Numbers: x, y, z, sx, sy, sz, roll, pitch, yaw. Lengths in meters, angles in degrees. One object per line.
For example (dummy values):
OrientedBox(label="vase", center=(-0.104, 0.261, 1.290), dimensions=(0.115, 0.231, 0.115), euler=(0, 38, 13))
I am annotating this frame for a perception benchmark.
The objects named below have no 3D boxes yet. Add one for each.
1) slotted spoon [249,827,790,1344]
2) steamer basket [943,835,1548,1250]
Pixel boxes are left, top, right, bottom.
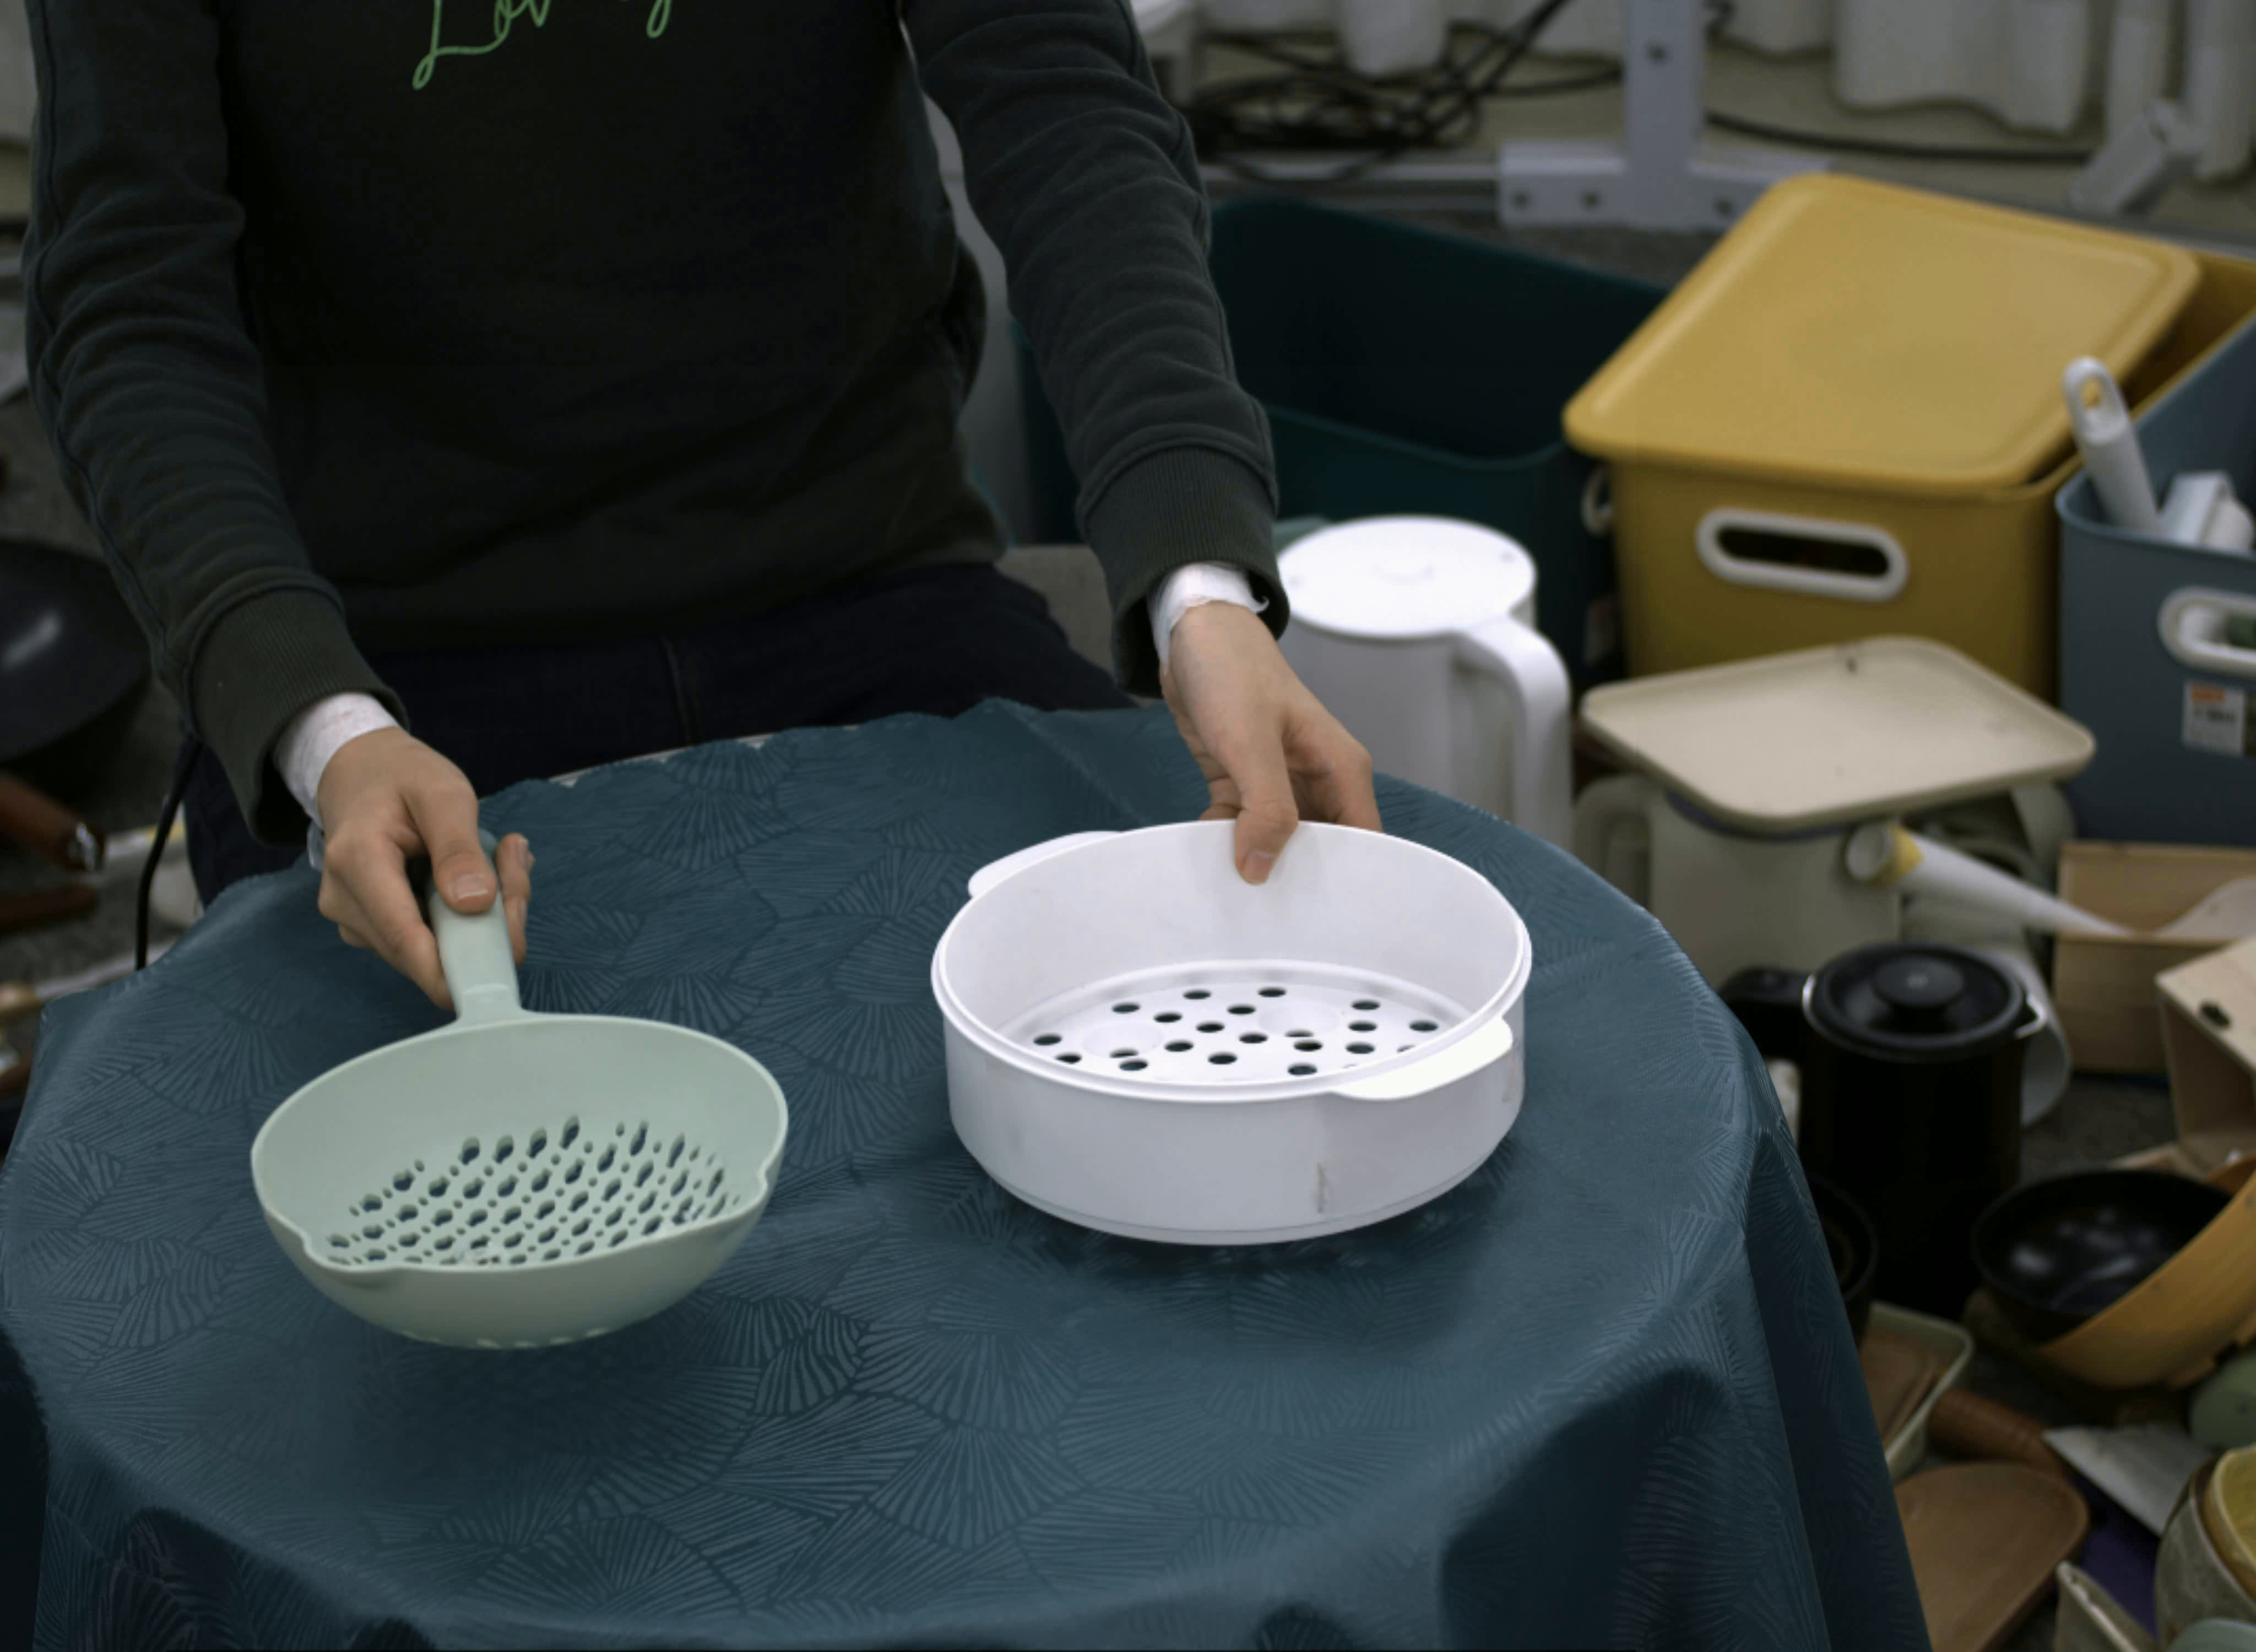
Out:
OrientedBox(label="slotted spoon", center=(-0.208, 0.069, 1.844), dimensions=(0.169, 0.074, 0.363), euler=(-7, 31, -9))
OrientedBox(label="steamer basket", center=(0.039, 0.072, 1.872), dimensions=(0.204, 0.068, 0.230), euler=(-19, 29, -35))
